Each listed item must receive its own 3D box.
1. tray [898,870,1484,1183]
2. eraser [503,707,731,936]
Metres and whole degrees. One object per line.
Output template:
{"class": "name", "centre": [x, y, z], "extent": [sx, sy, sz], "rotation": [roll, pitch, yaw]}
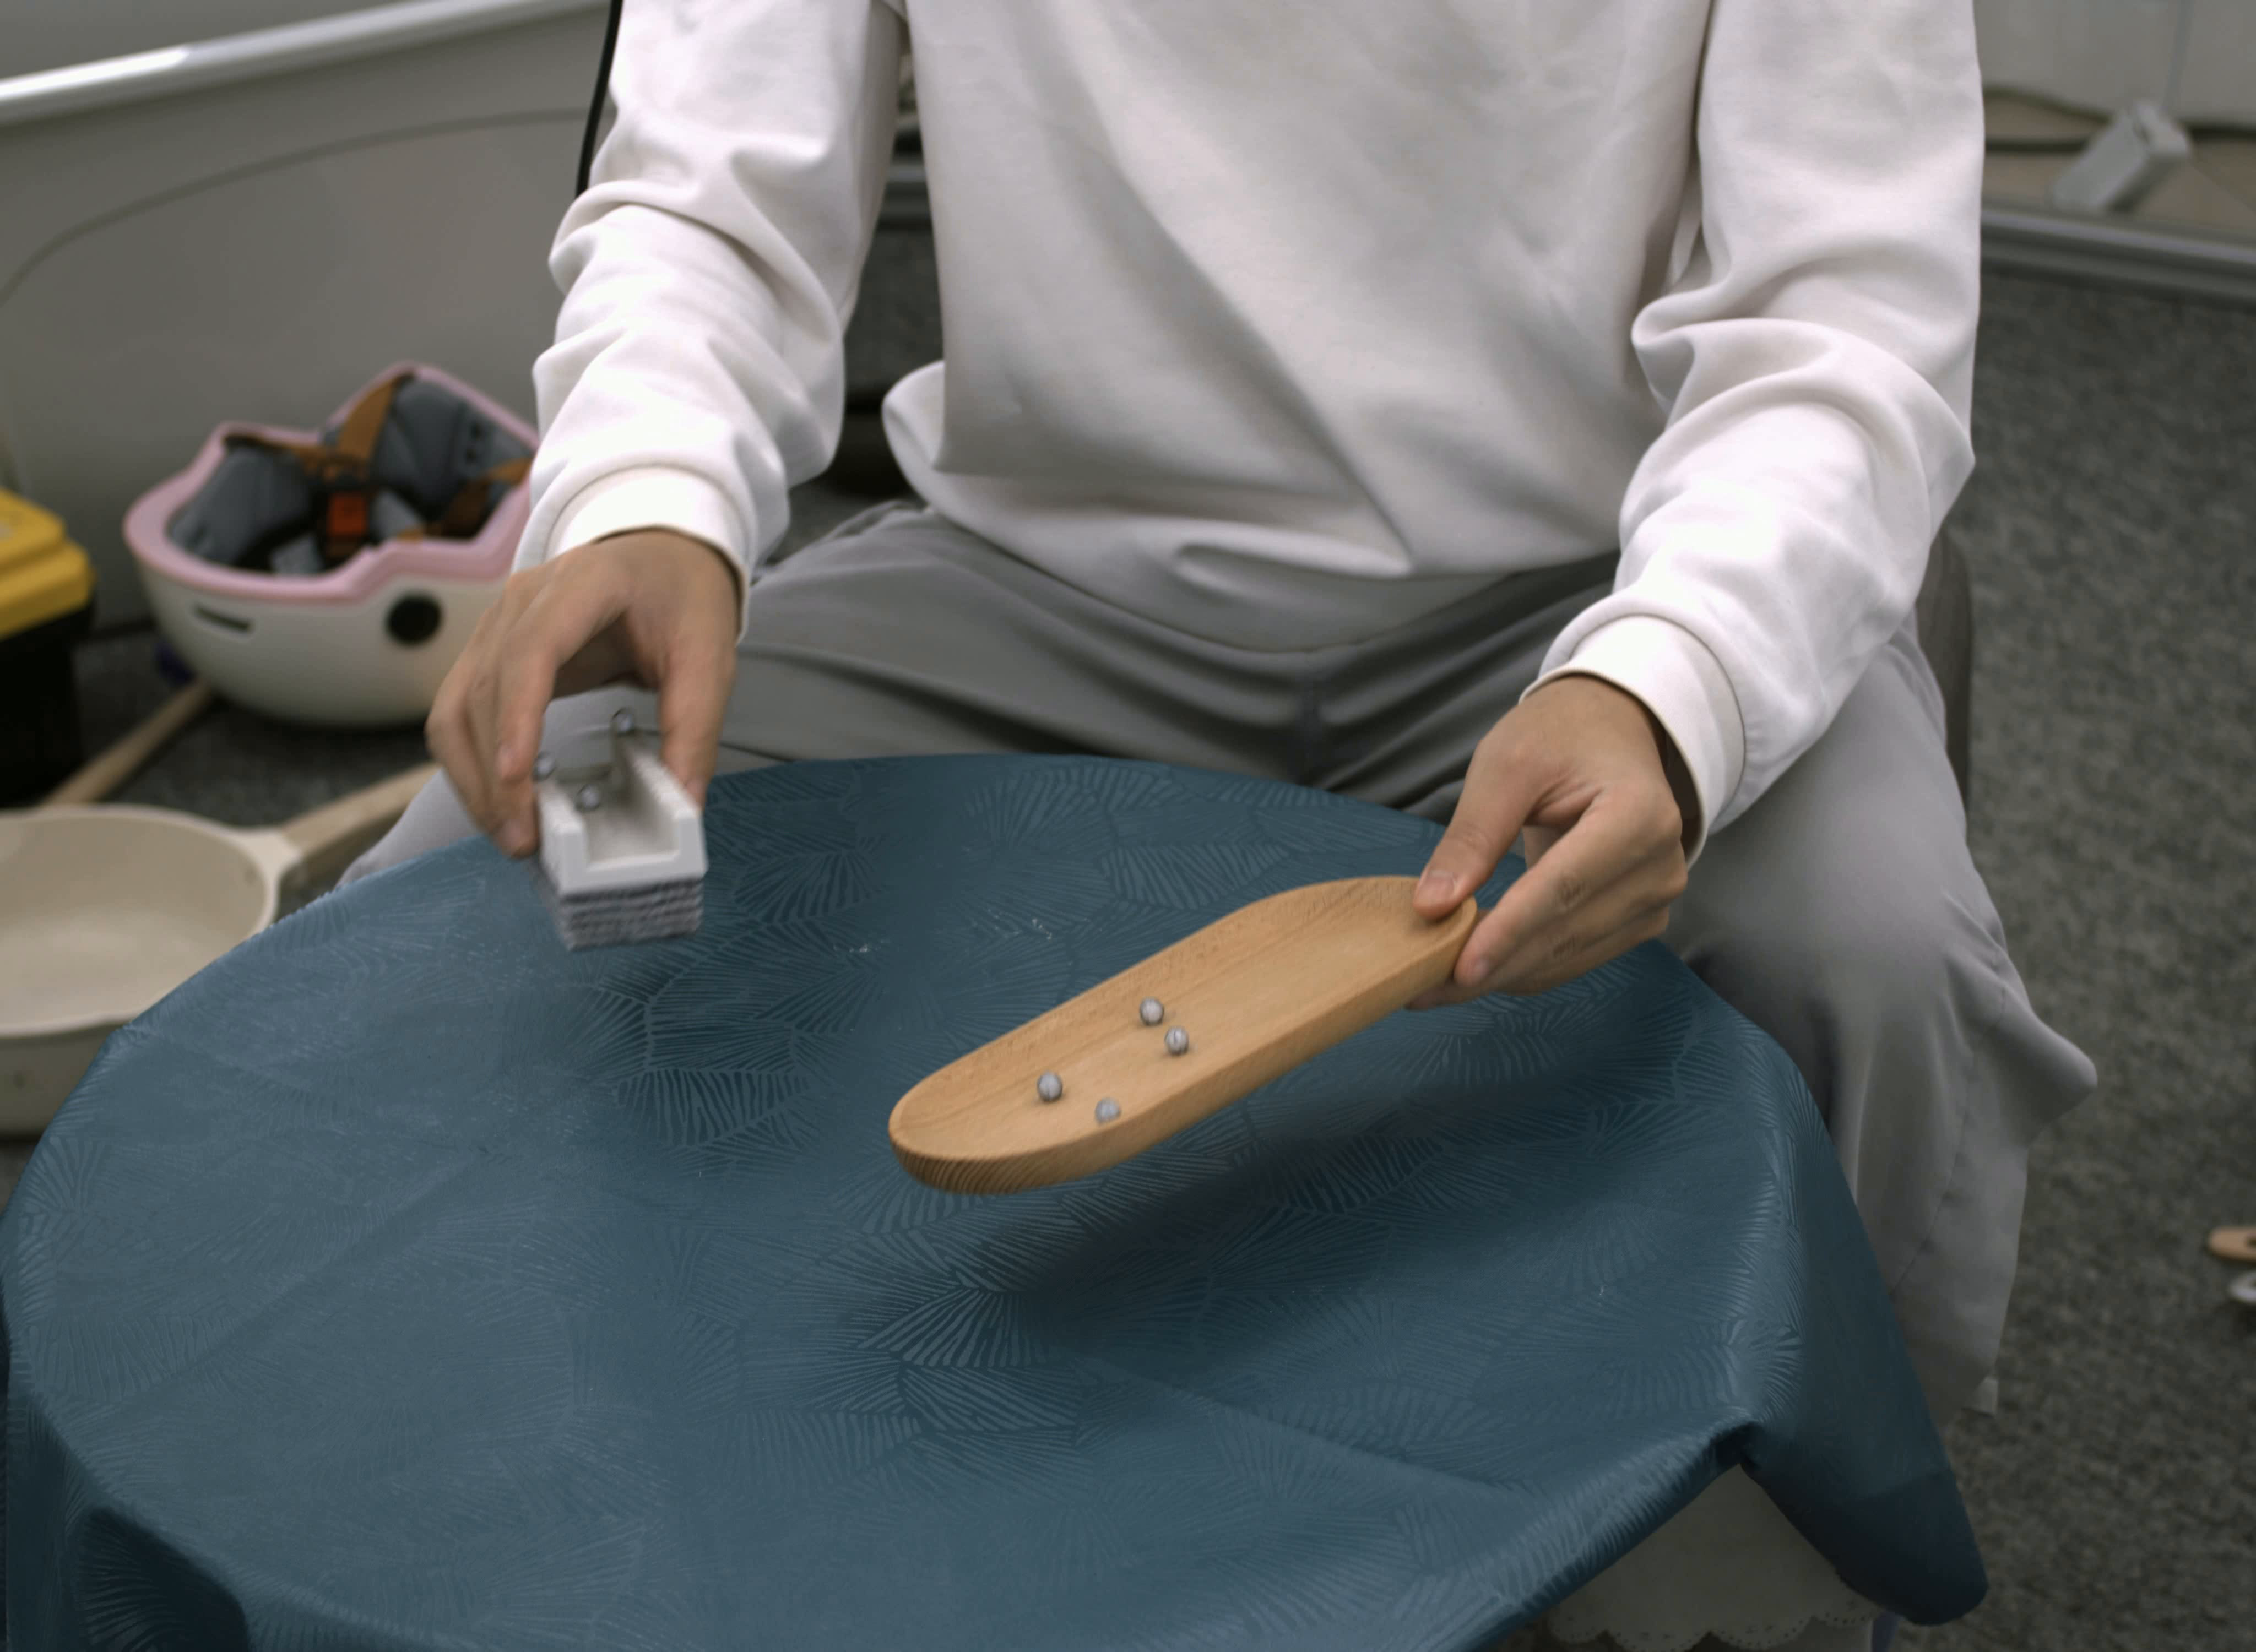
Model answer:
{"class": "tray", "centre": [0.023, 0.064, 1.826], "extent": [0.234, 0.020, 0.101], "rotation": [-26, 23, -39]}
{"class": "eraser", "centre": [-0.177, -0.001, 1.942], "extent": [0.050, 0.046, 0.135], "rotation": [-4, 16, -18]}
